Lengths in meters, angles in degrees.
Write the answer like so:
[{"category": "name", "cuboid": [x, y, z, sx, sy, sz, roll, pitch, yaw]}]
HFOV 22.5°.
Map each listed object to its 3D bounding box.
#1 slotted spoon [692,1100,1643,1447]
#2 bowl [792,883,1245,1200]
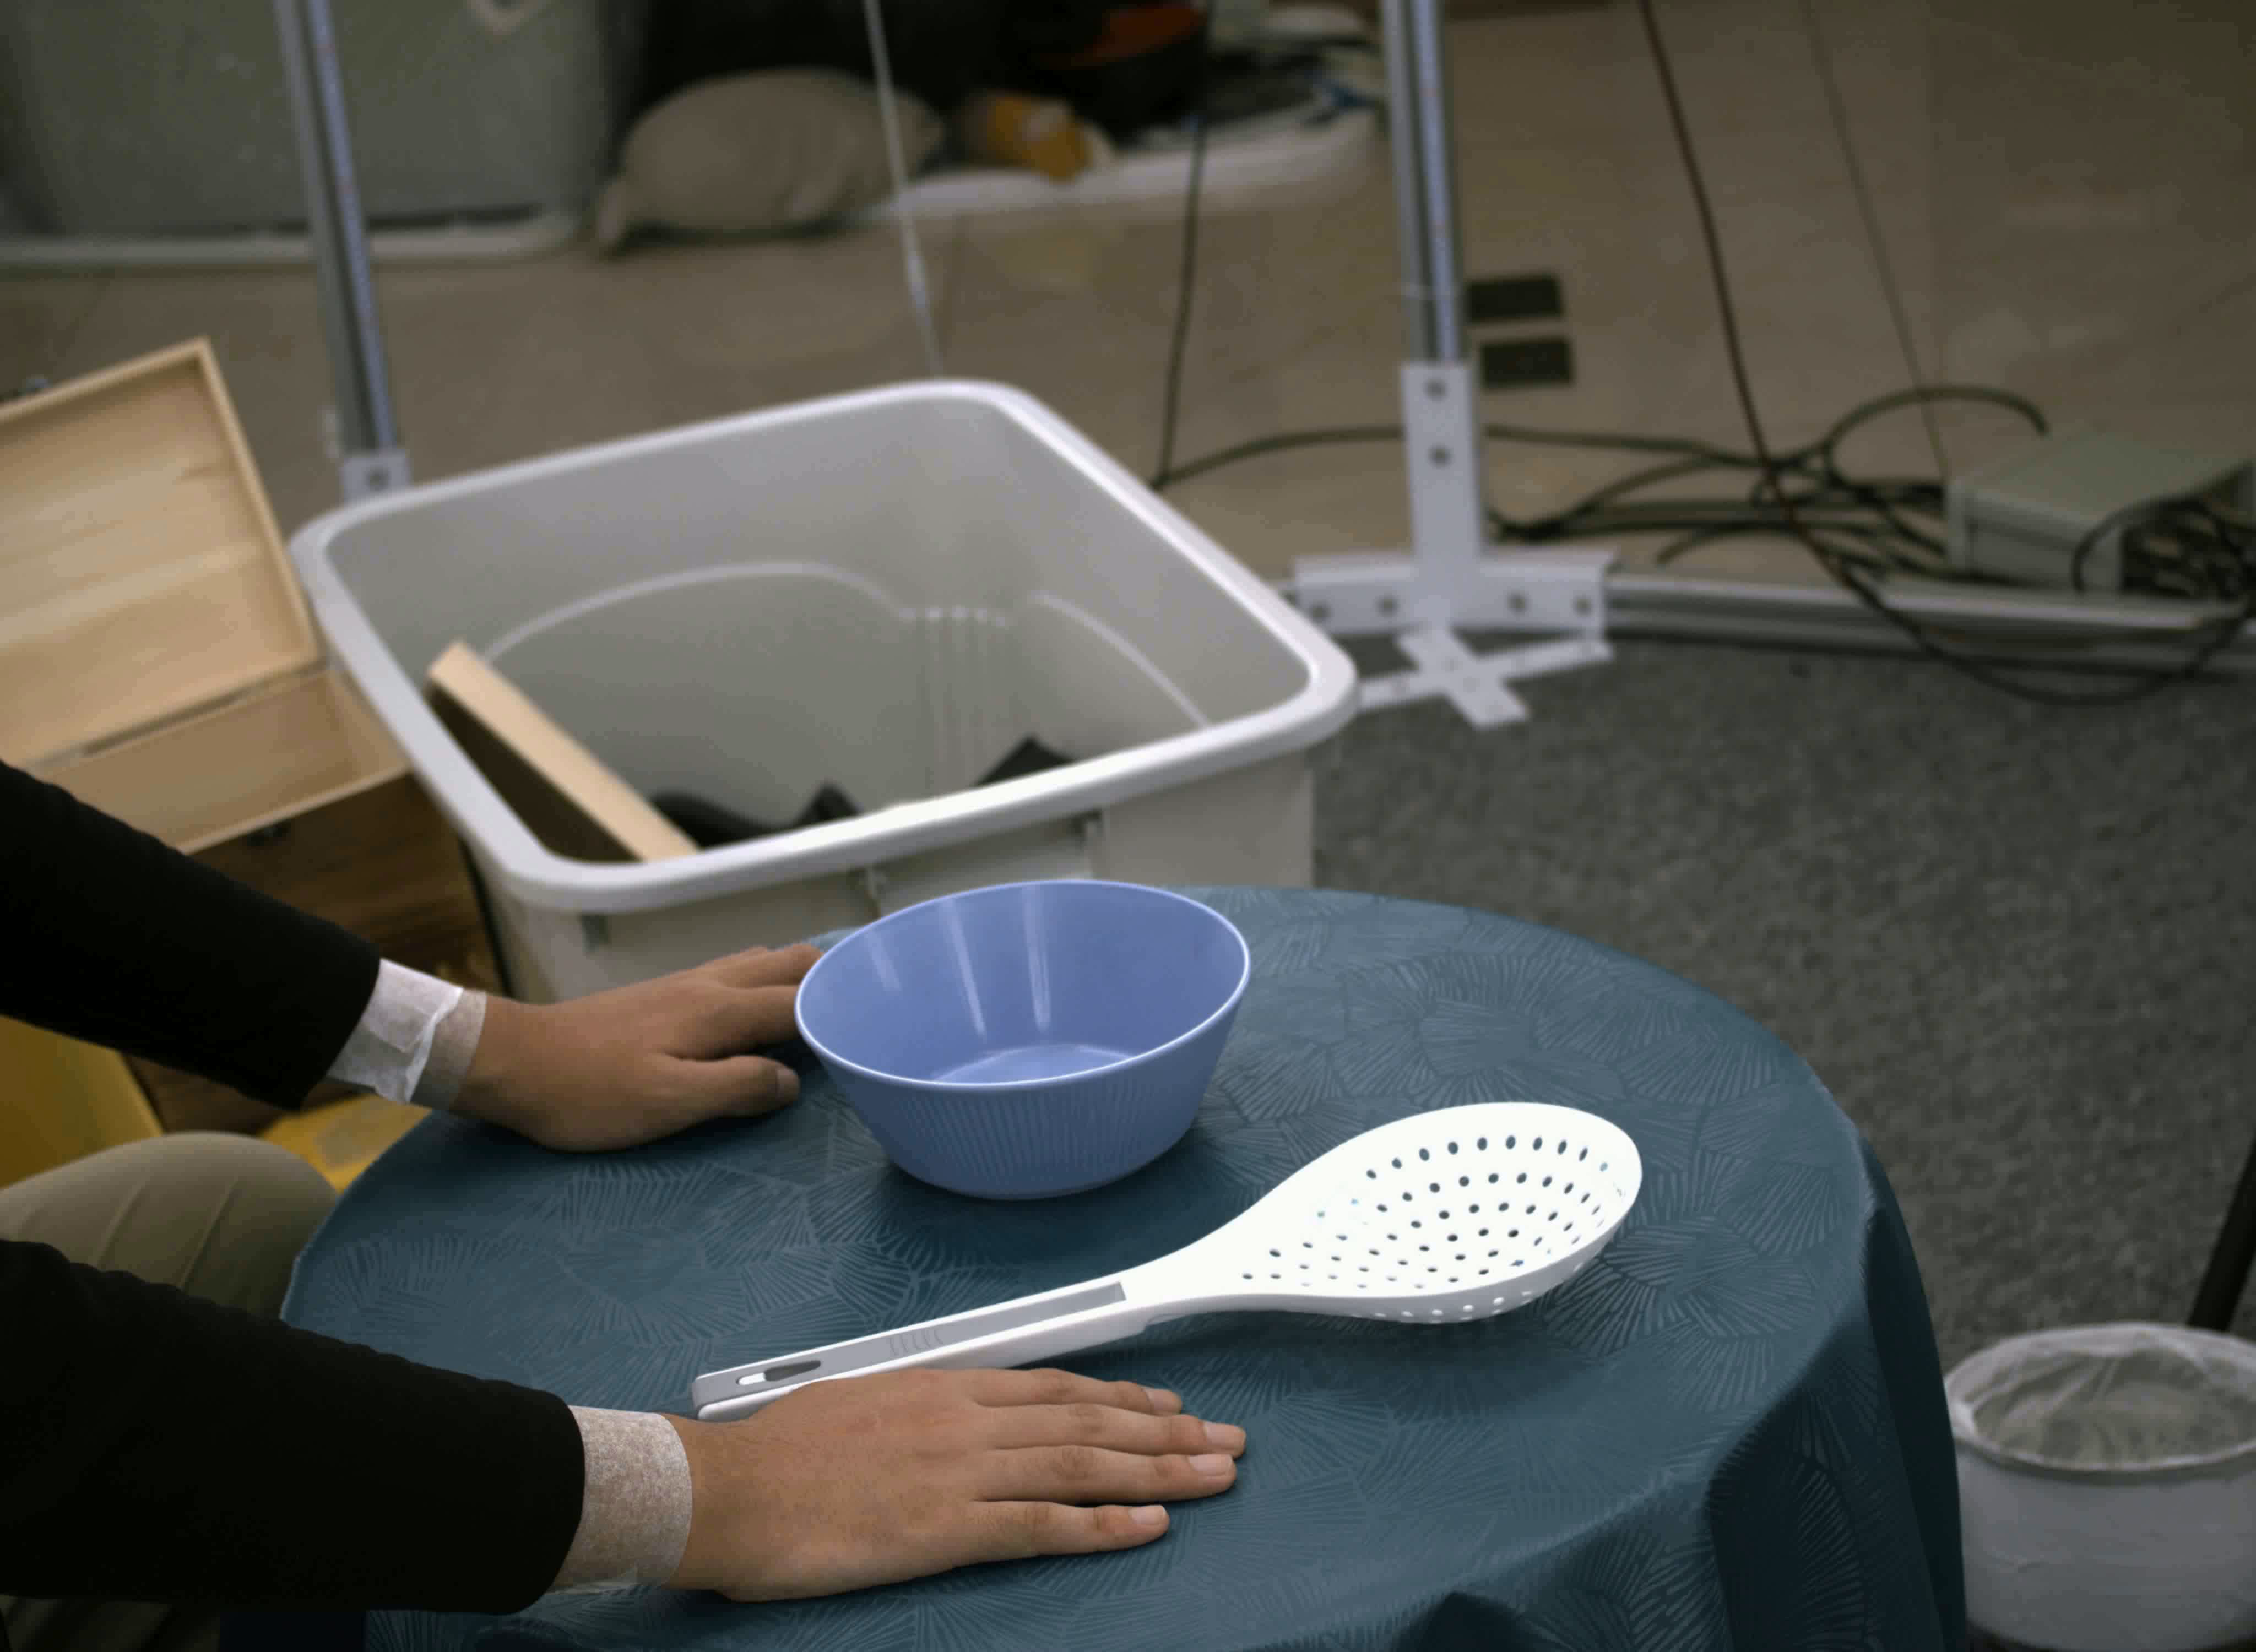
[{"category": "slotted spoon", "cuboid": [0.015, 0.167, 2.030, 0.349, 0.046, 0.134, -11, 25, -6]}, {"category": "bowl", "cuboid": [-0.038, 0.088, 2.182, 0.176, 0.071, 0.173, -6, 25, 3]}]
